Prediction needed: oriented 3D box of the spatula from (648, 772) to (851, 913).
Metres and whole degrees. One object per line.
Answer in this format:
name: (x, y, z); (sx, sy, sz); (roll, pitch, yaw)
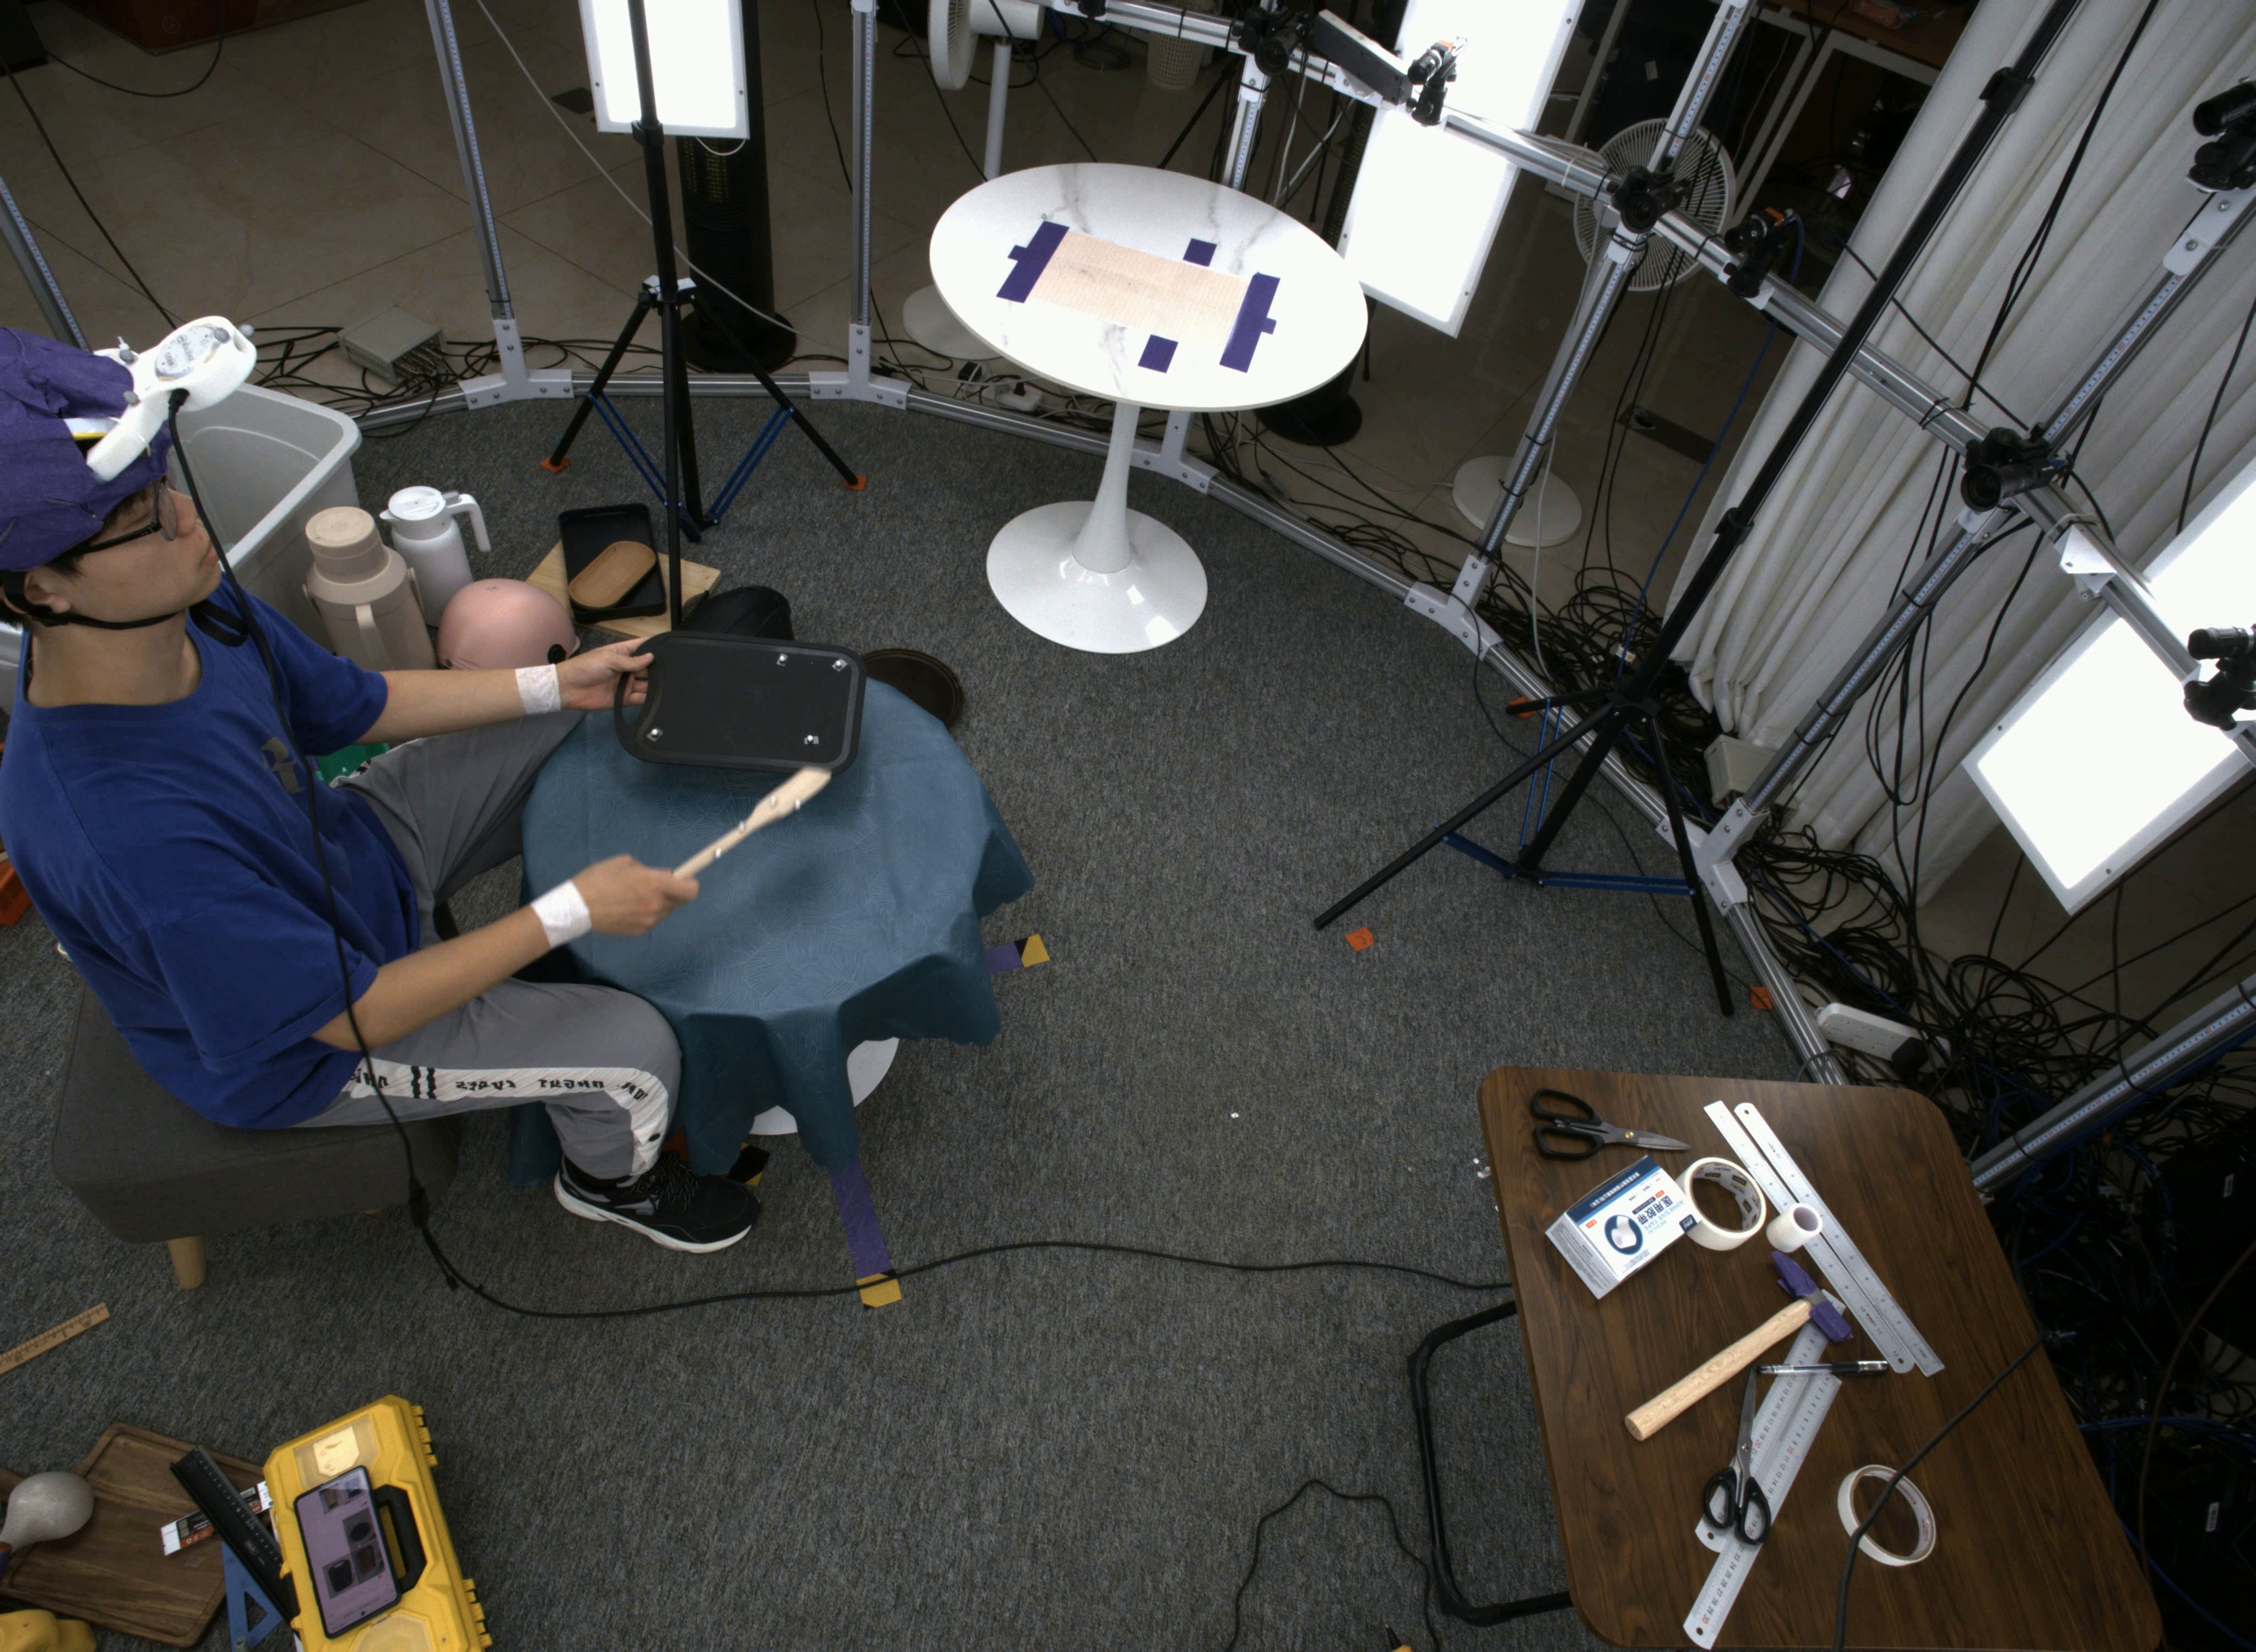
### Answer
spatula: (-0.462, 0.017, 1.578); (0.069, 0.011, 0.293); (13, 43, 46)

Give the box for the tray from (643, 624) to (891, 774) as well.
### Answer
tray: (-0.488, -0.174, 1.735); (0.325, 0.010, 0.208); (7, 63, -9)
